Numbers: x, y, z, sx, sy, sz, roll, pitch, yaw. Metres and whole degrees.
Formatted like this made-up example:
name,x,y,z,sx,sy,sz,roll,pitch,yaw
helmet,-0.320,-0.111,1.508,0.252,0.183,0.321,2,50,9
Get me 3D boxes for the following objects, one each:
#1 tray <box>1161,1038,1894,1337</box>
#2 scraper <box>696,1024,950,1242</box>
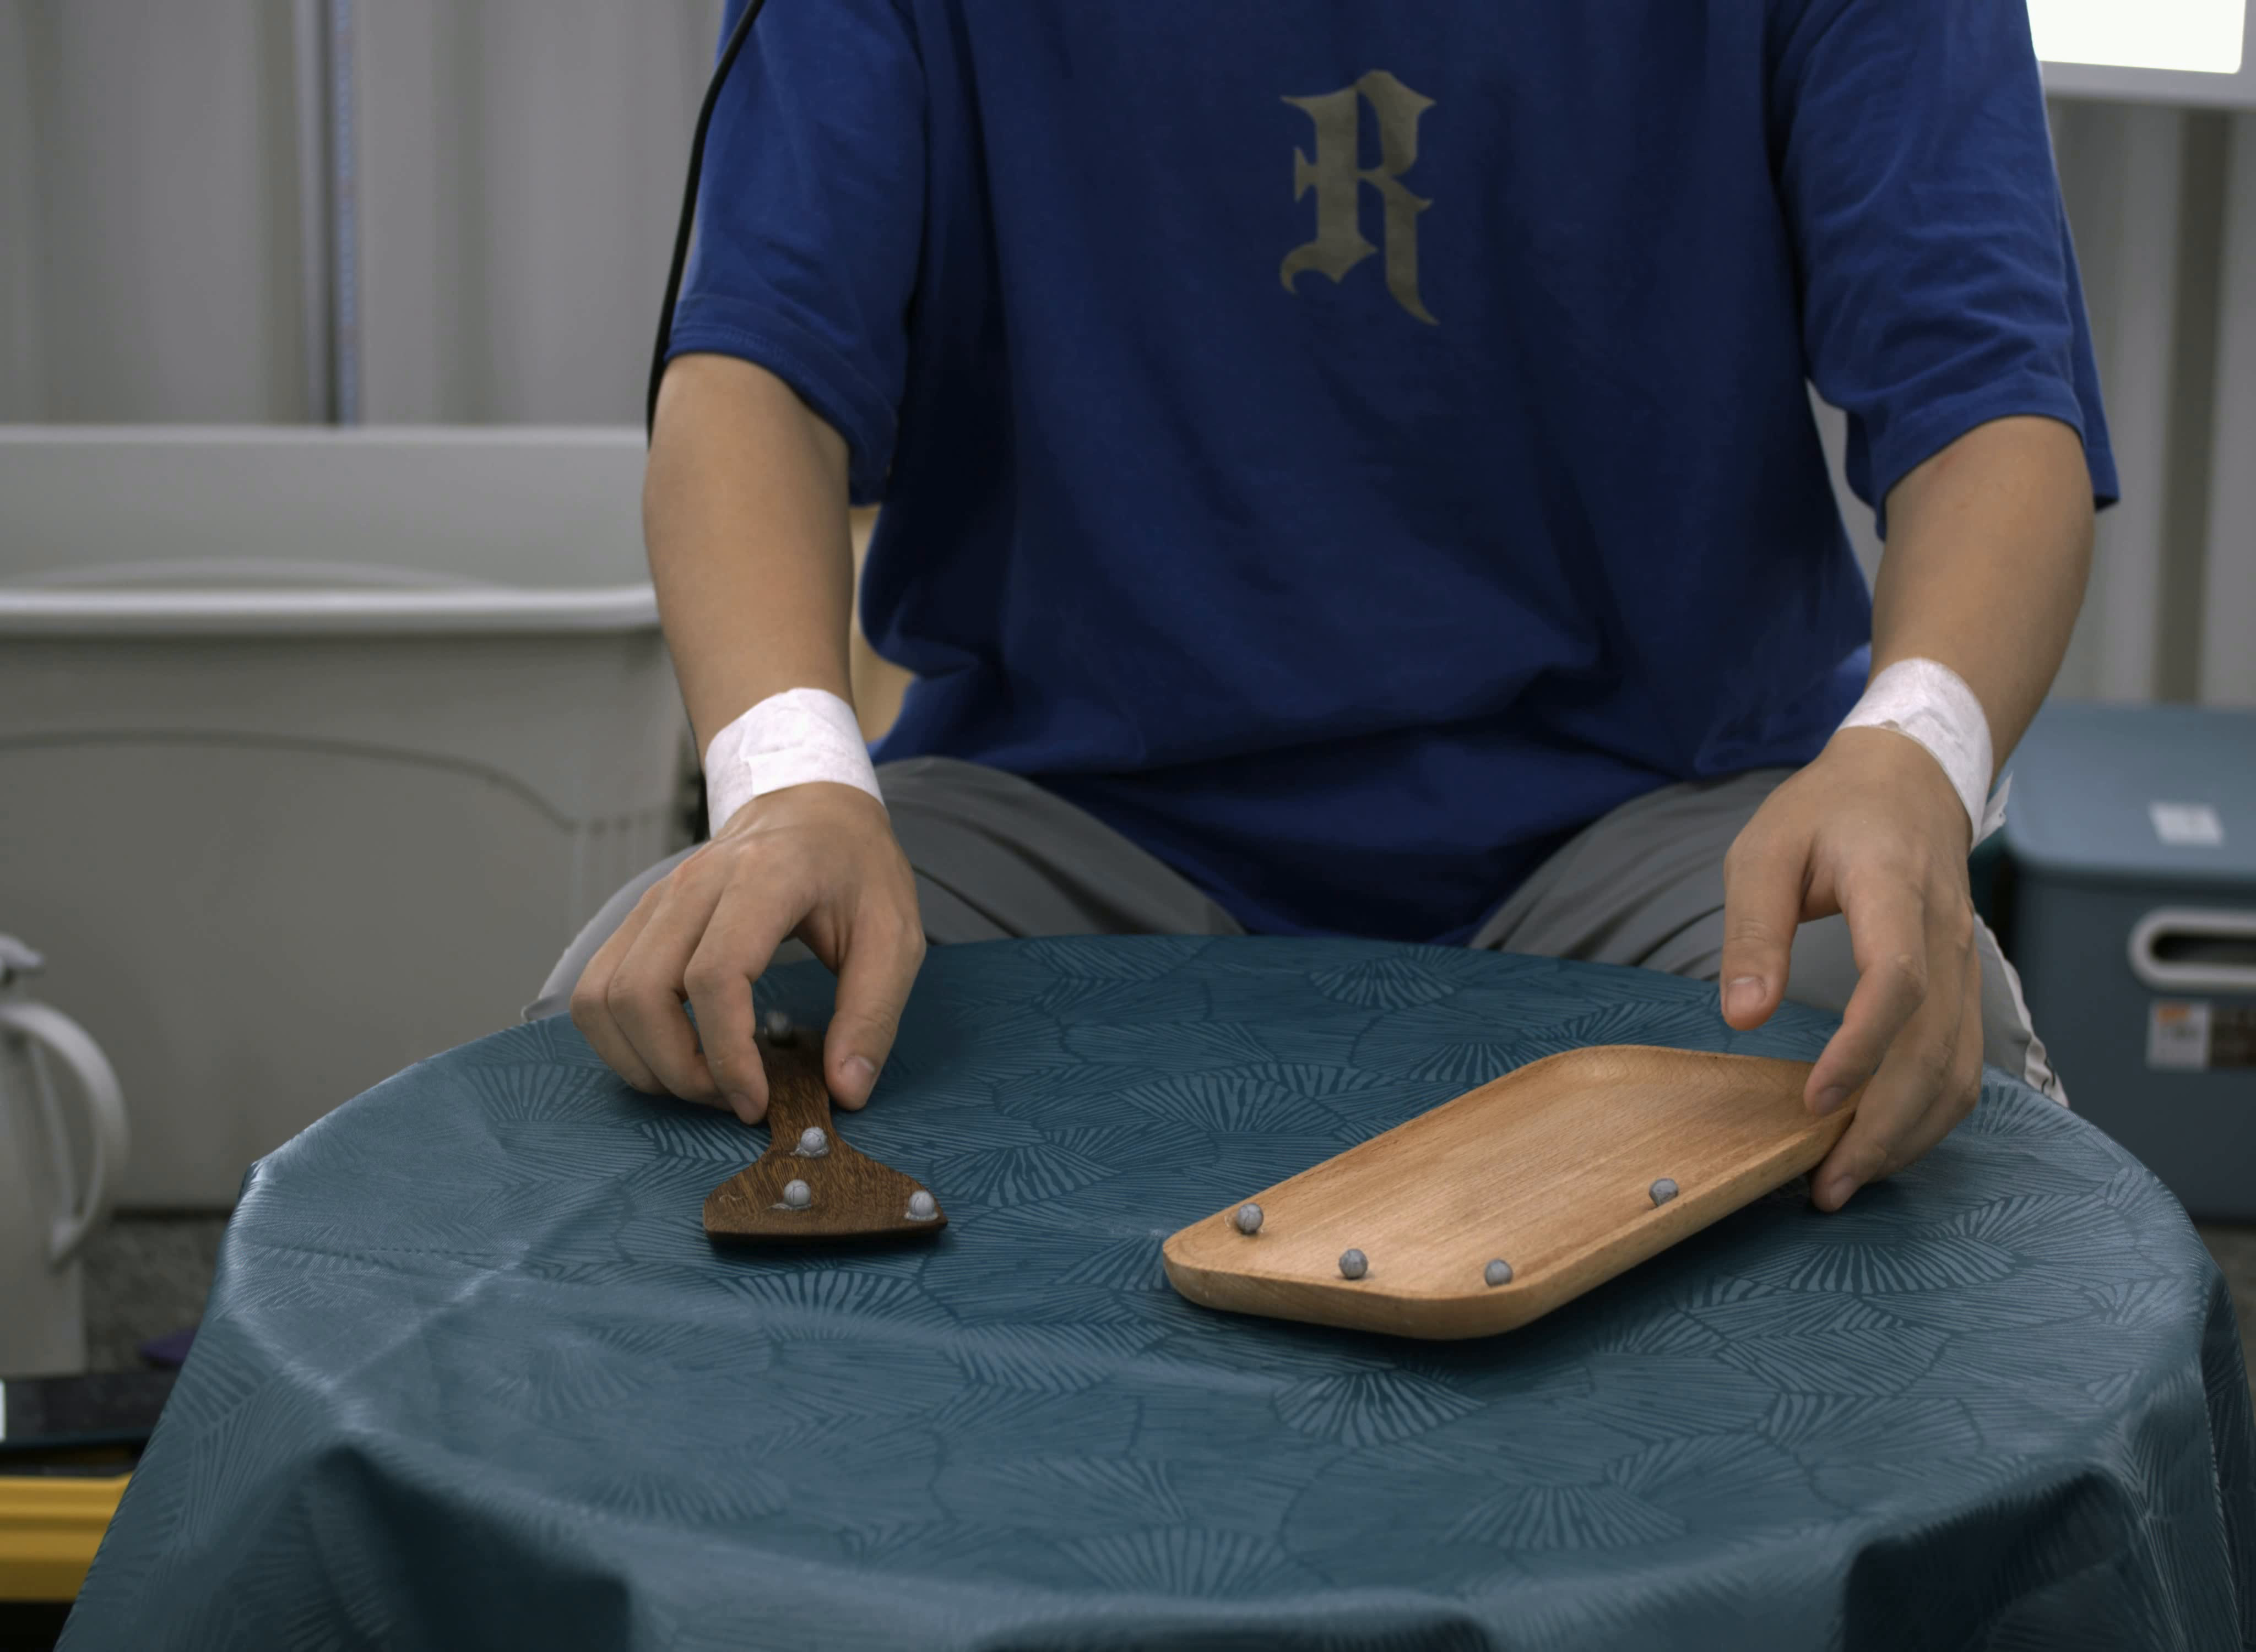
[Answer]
name,x,y,z,sx,sy,sz,roll,pitch,yaw
tray,0.124,0.106,1.590,0.129,0.023,0.252,8,17,37
scraper,-0.103,0.096,1.657,0.076,0.011,0.209,0,16,-8
